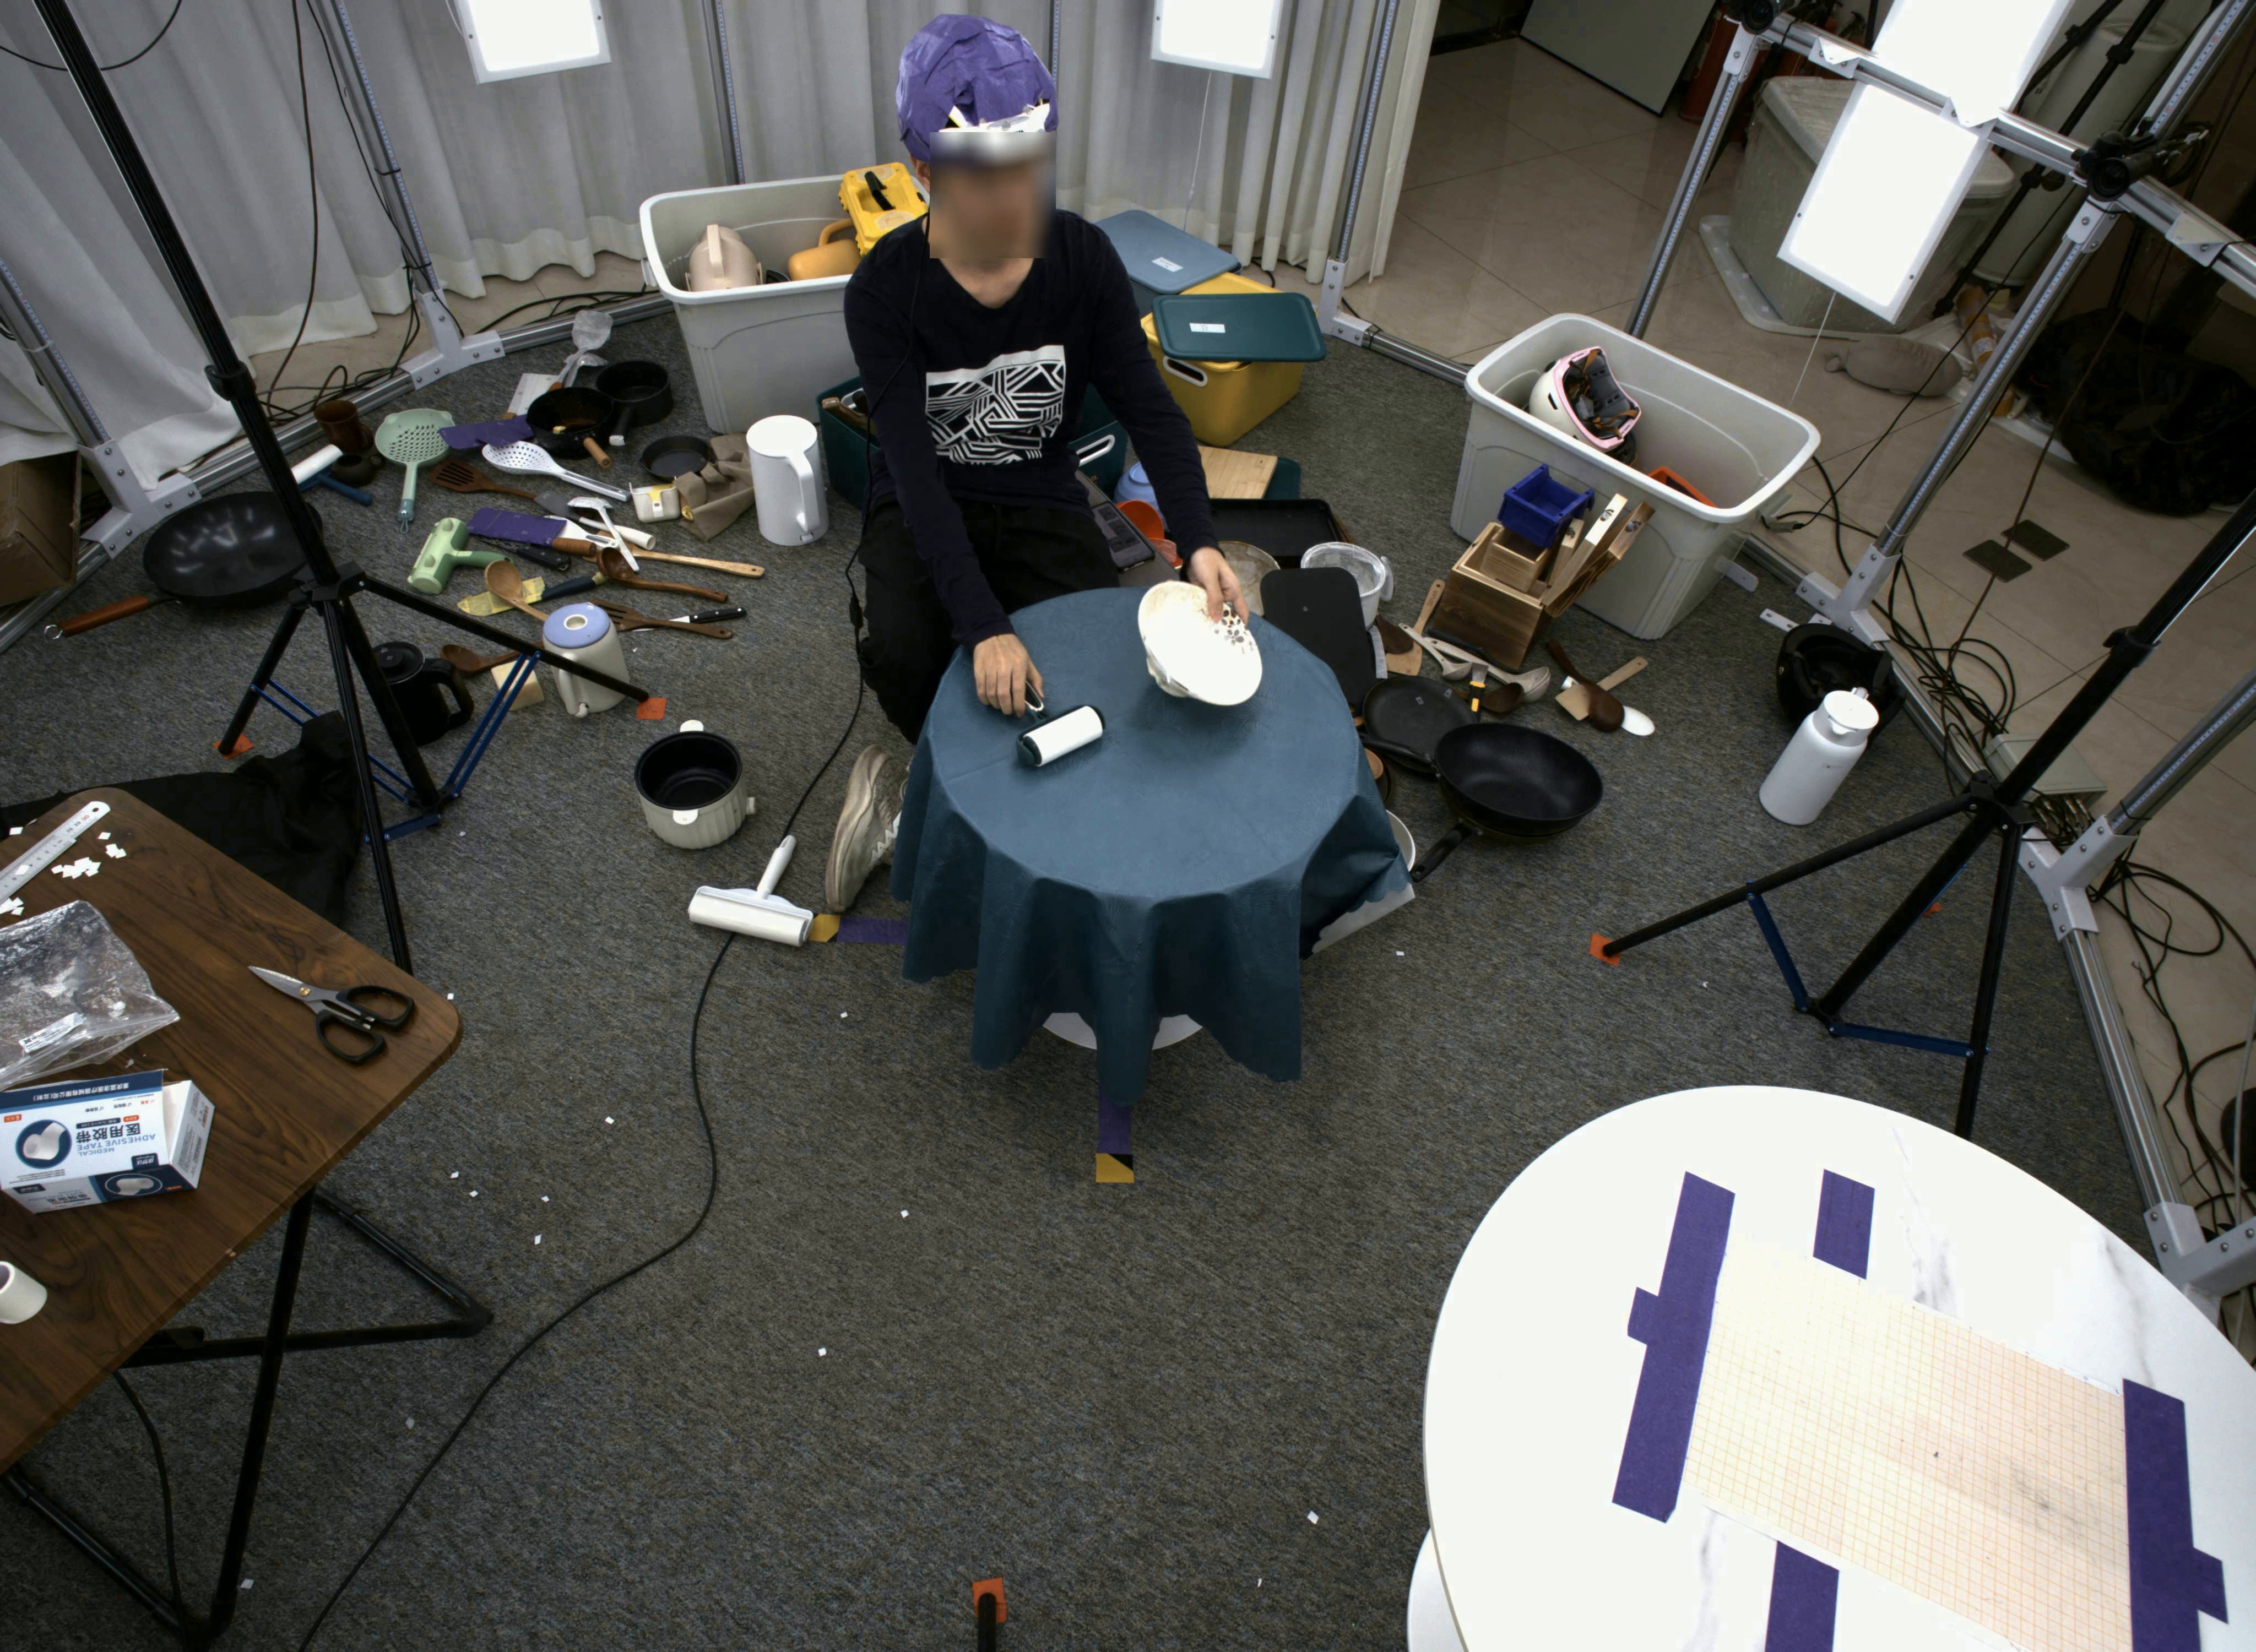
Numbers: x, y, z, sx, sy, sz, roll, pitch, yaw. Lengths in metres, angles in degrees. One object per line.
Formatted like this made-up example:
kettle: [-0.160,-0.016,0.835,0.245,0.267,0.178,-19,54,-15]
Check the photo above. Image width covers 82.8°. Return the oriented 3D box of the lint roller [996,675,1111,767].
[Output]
lint roller: [-0.127,-0.166,1.769,0.135,0.047,0.183,-27,58,-24]

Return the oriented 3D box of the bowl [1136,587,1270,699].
bowl: [0.092,-0.237,1.802,0.203,0.076,0.209,14,47,-16]
